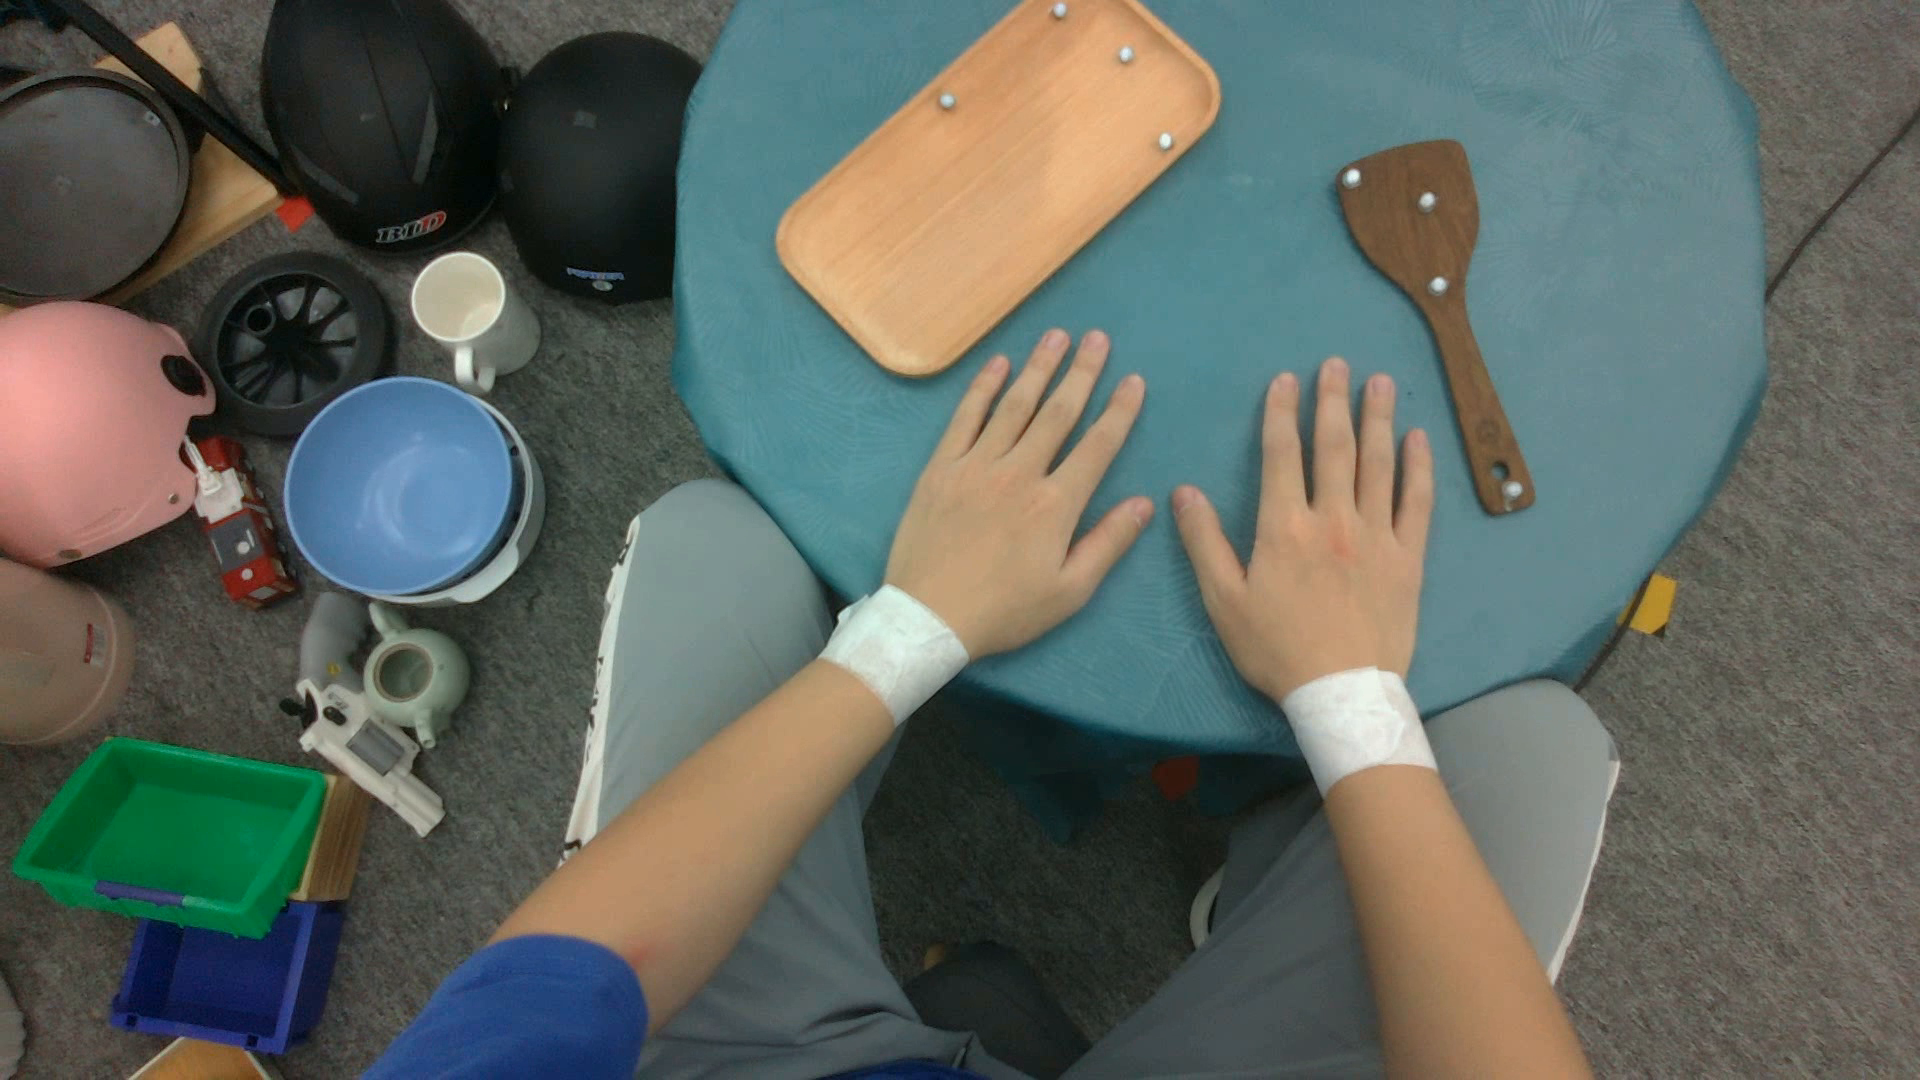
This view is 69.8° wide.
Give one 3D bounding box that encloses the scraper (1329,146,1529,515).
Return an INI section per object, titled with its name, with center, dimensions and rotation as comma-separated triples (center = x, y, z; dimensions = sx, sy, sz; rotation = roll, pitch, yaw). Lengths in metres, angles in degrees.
[scraper]
center = 0.264, -0.115, 0.750
dimensions = 0.076, 0.011, 0.211
rotation = -14, 77, -1

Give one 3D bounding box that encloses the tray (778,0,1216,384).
[tray]
center = 0.022, -0.201, 0.773
dimensions = 0.251, 0.023, 0.130
rotation = -43, 77, -7
